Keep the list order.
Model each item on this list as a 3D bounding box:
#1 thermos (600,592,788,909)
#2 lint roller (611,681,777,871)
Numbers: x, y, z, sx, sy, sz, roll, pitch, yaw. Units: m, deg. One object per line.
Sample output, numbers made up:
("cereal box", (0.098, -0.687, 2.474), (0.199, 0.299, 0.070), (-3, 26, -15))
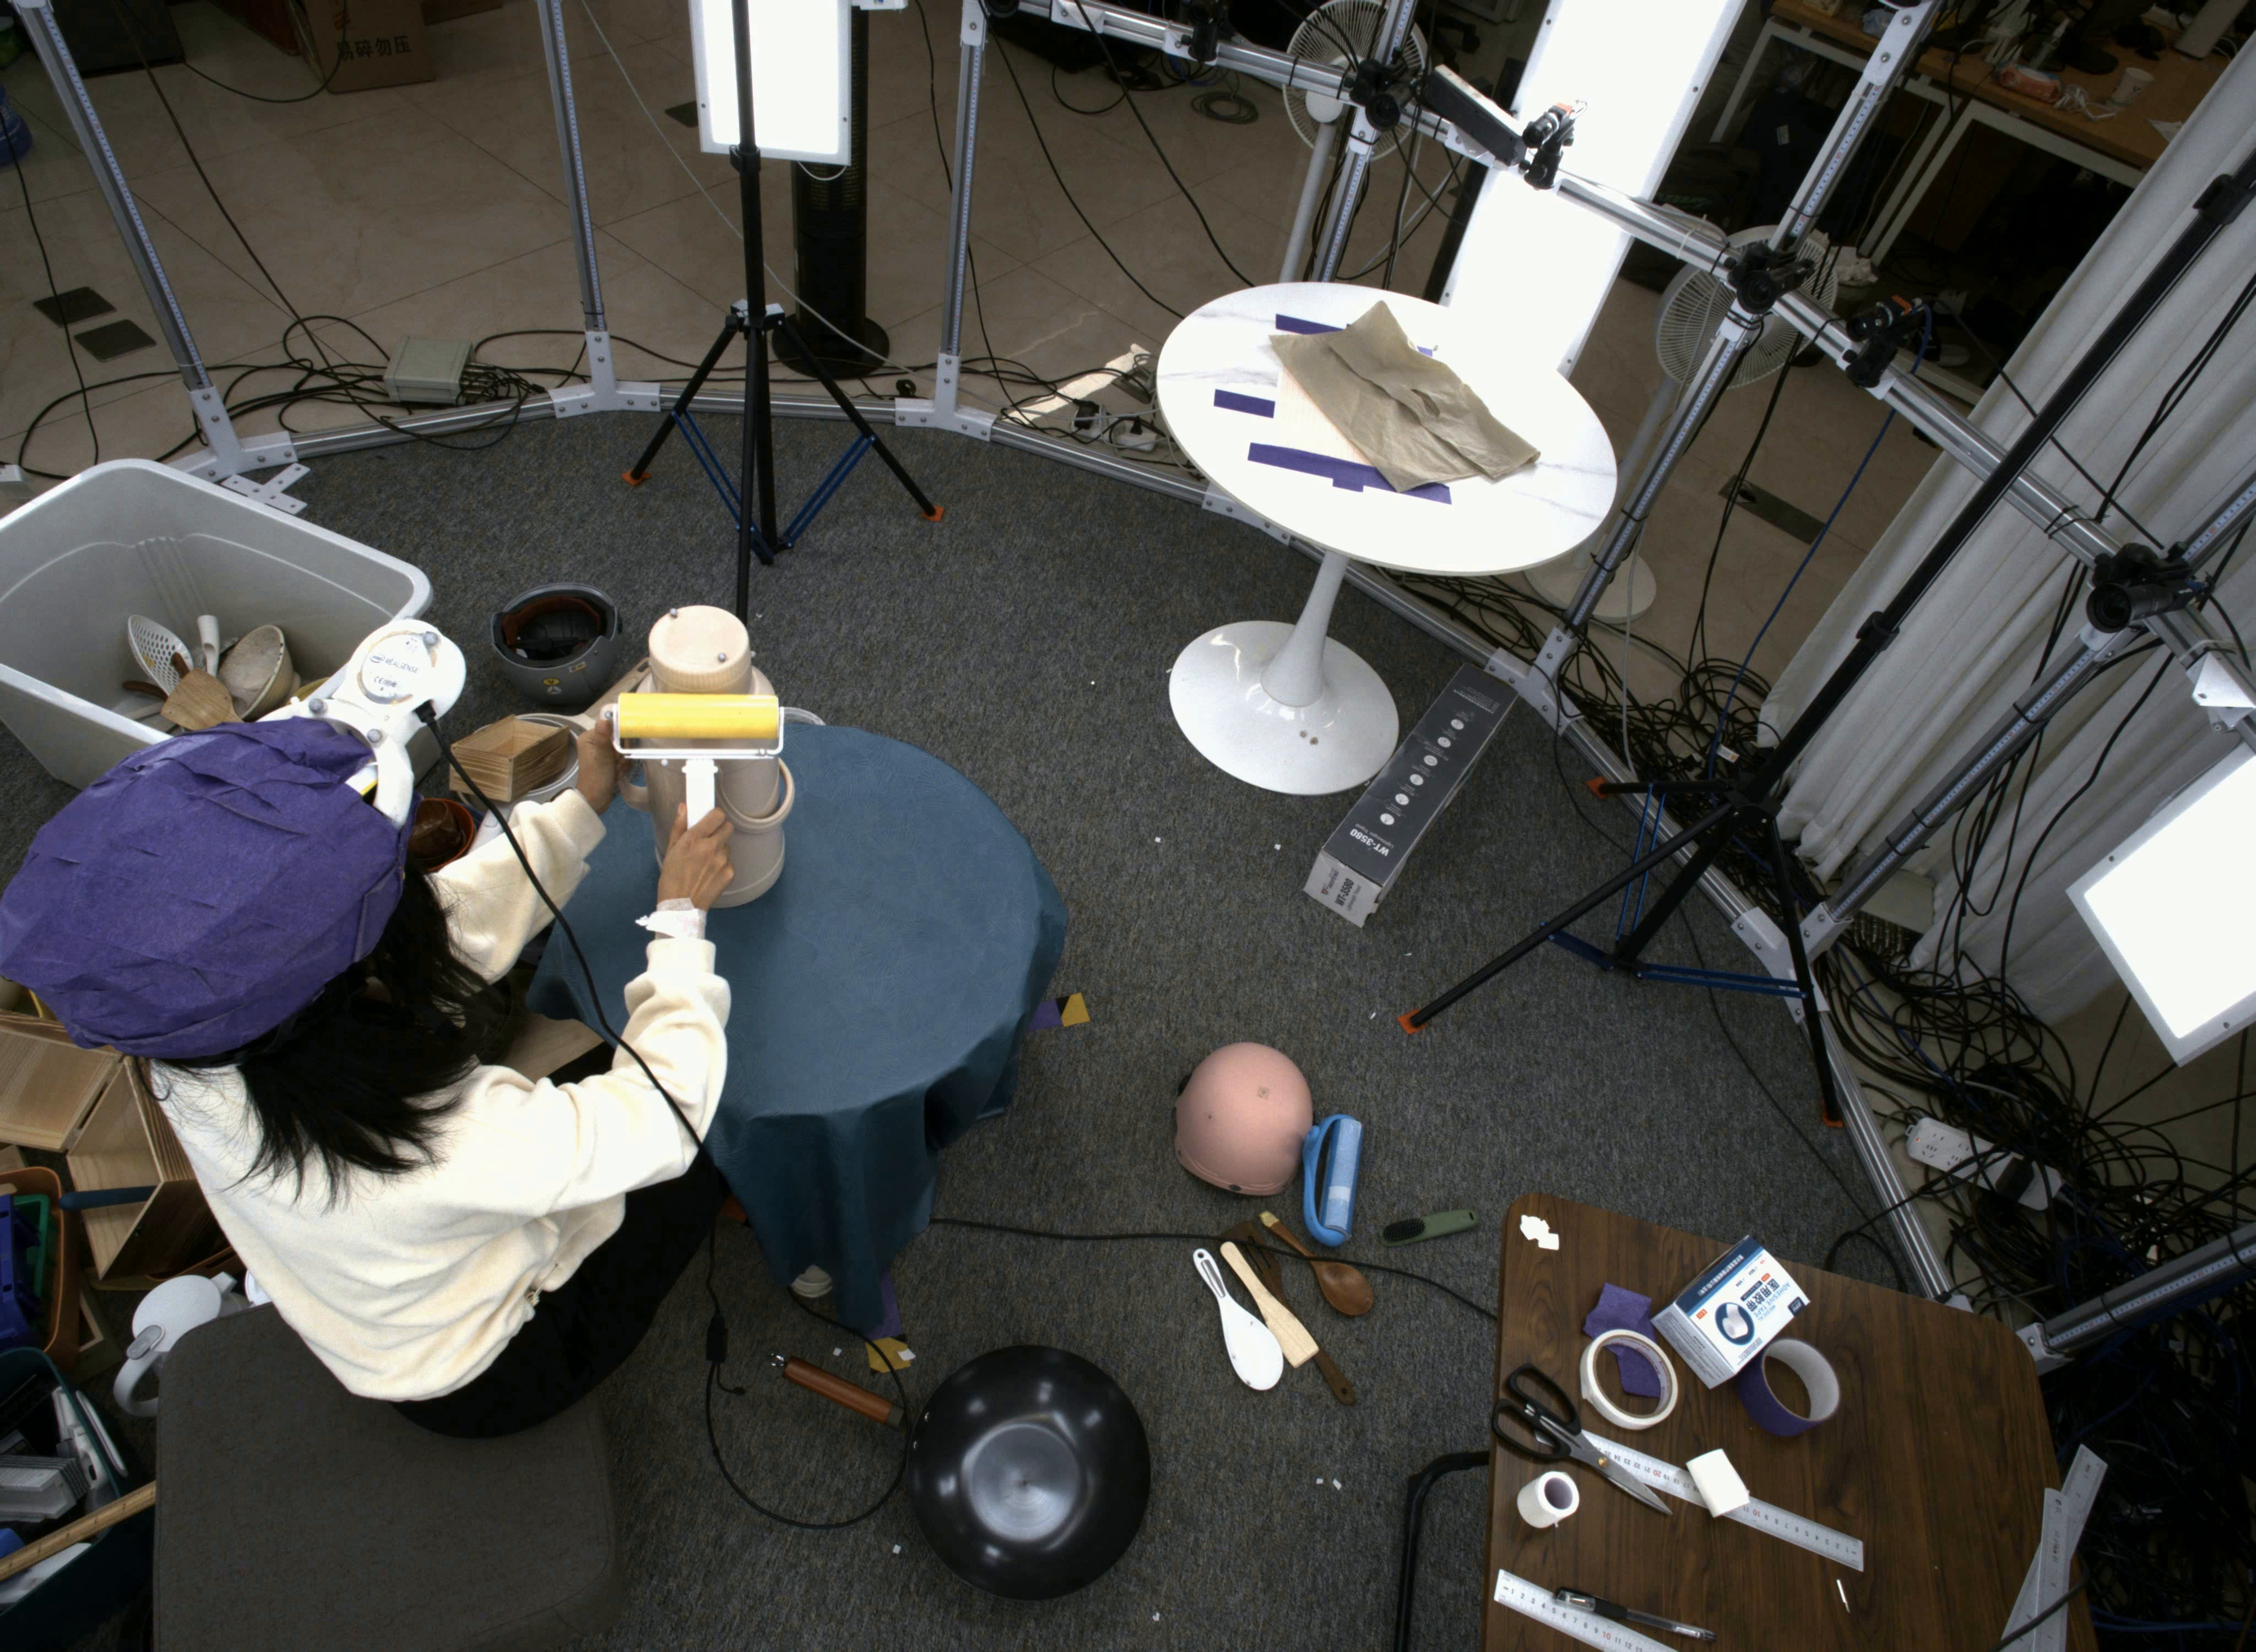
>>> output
("thermos", (-0.505, -0.084, 1.503), (0.207, 0.415, 0.171), (-6, 54, -16))
("lint roller", (-0.447, -0.054, 1.333), (0.175, 0.051, 0.193), (-2, 83, -20))
